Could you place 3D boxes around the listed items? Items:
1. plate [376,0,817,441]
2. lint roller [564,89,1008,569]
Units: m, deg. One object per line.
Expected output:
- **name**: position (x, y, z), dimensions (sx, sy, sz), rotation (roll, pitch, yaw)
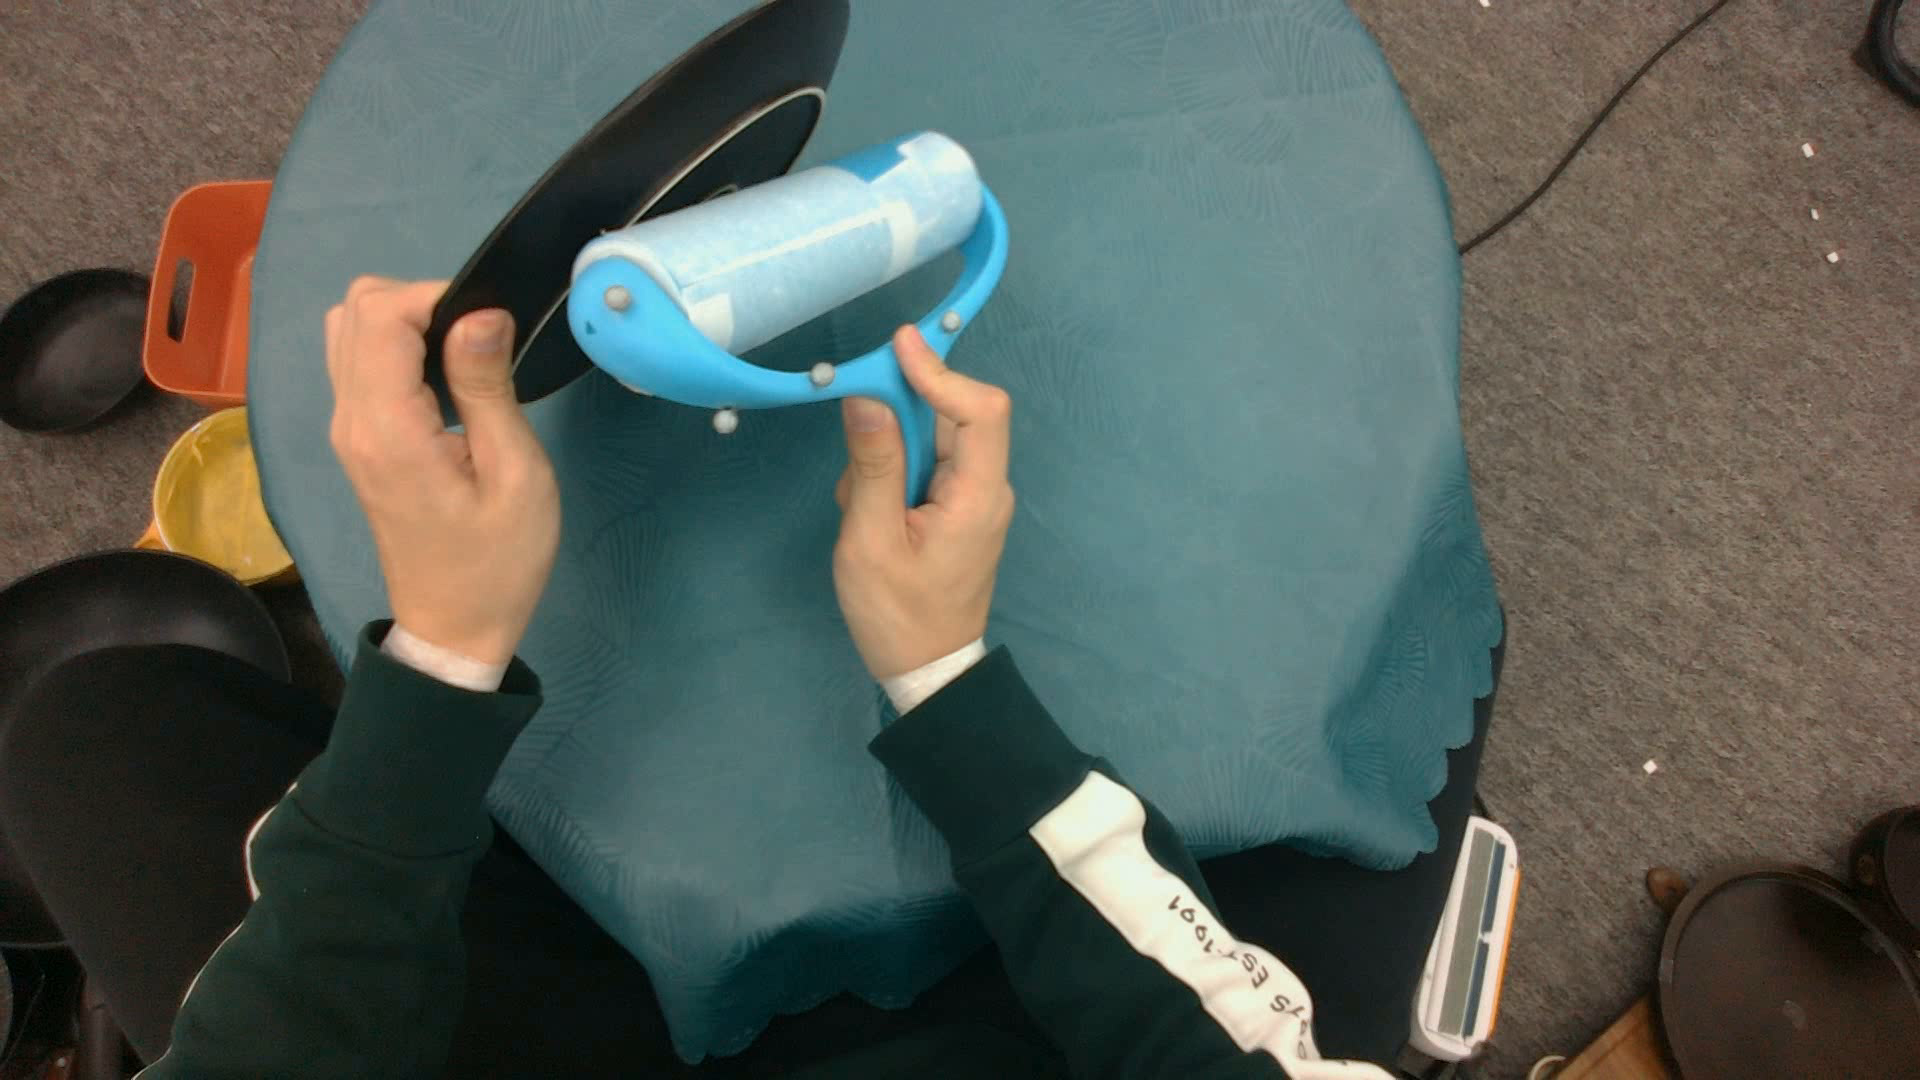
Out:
- **plate**: position (-0.138, -0.122, 0.565), dimensions (0.023, 0.244, 0.245), rotation (44, 78, -7)
- **lint roller**: position (-0.042, -0.072, 0.545), dimensions (0.230, 0.068, 0.180), rotation (-45, 123, -47)
